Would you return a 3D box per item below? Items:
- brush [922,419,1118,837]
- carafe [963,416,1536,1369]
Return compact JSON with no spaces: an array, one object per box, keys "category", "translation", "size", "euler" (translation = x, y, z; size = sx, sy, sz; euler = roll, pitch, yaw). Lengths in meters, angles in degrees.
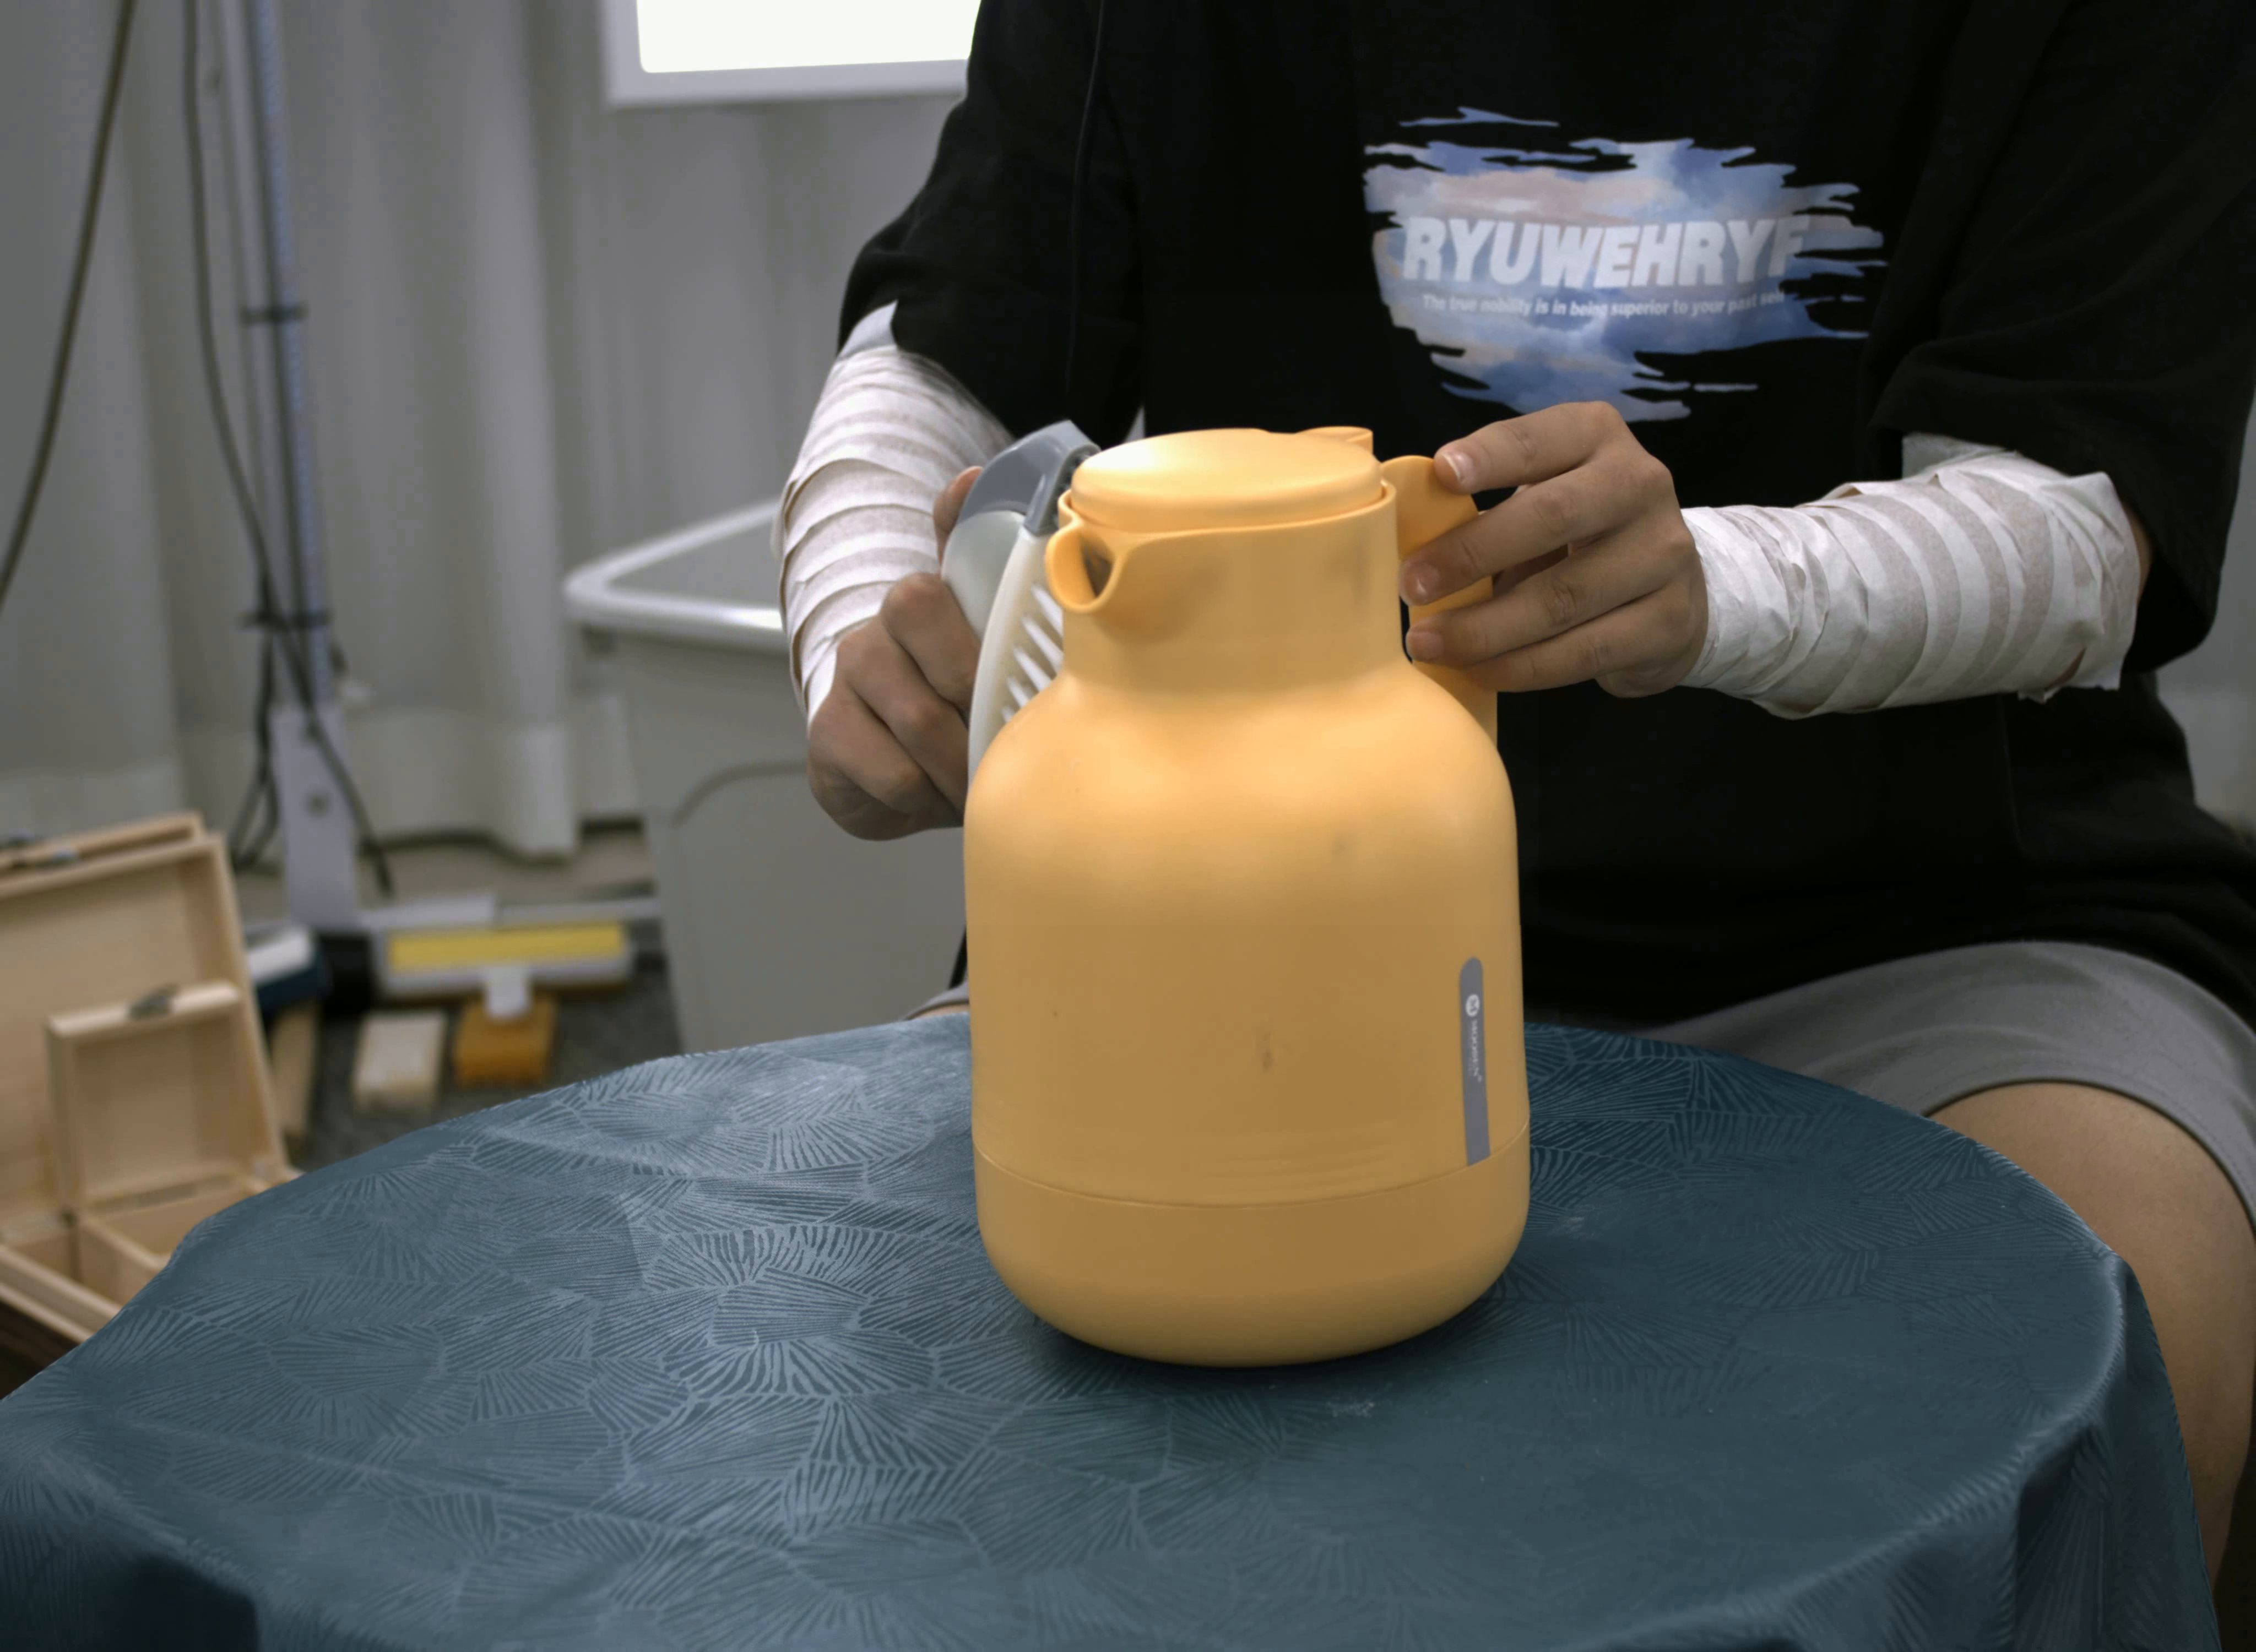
[{"category":"brush","translation":[-0.025,-0.066,1.677],"size":[0.061,0.173,0.095],"euler":[-26,56,-26]},{"category":"carafe","translation":[0.046,0.011,1.591],"size":[0.164,0.259,0.202],"euler":[10,20,37]}]
